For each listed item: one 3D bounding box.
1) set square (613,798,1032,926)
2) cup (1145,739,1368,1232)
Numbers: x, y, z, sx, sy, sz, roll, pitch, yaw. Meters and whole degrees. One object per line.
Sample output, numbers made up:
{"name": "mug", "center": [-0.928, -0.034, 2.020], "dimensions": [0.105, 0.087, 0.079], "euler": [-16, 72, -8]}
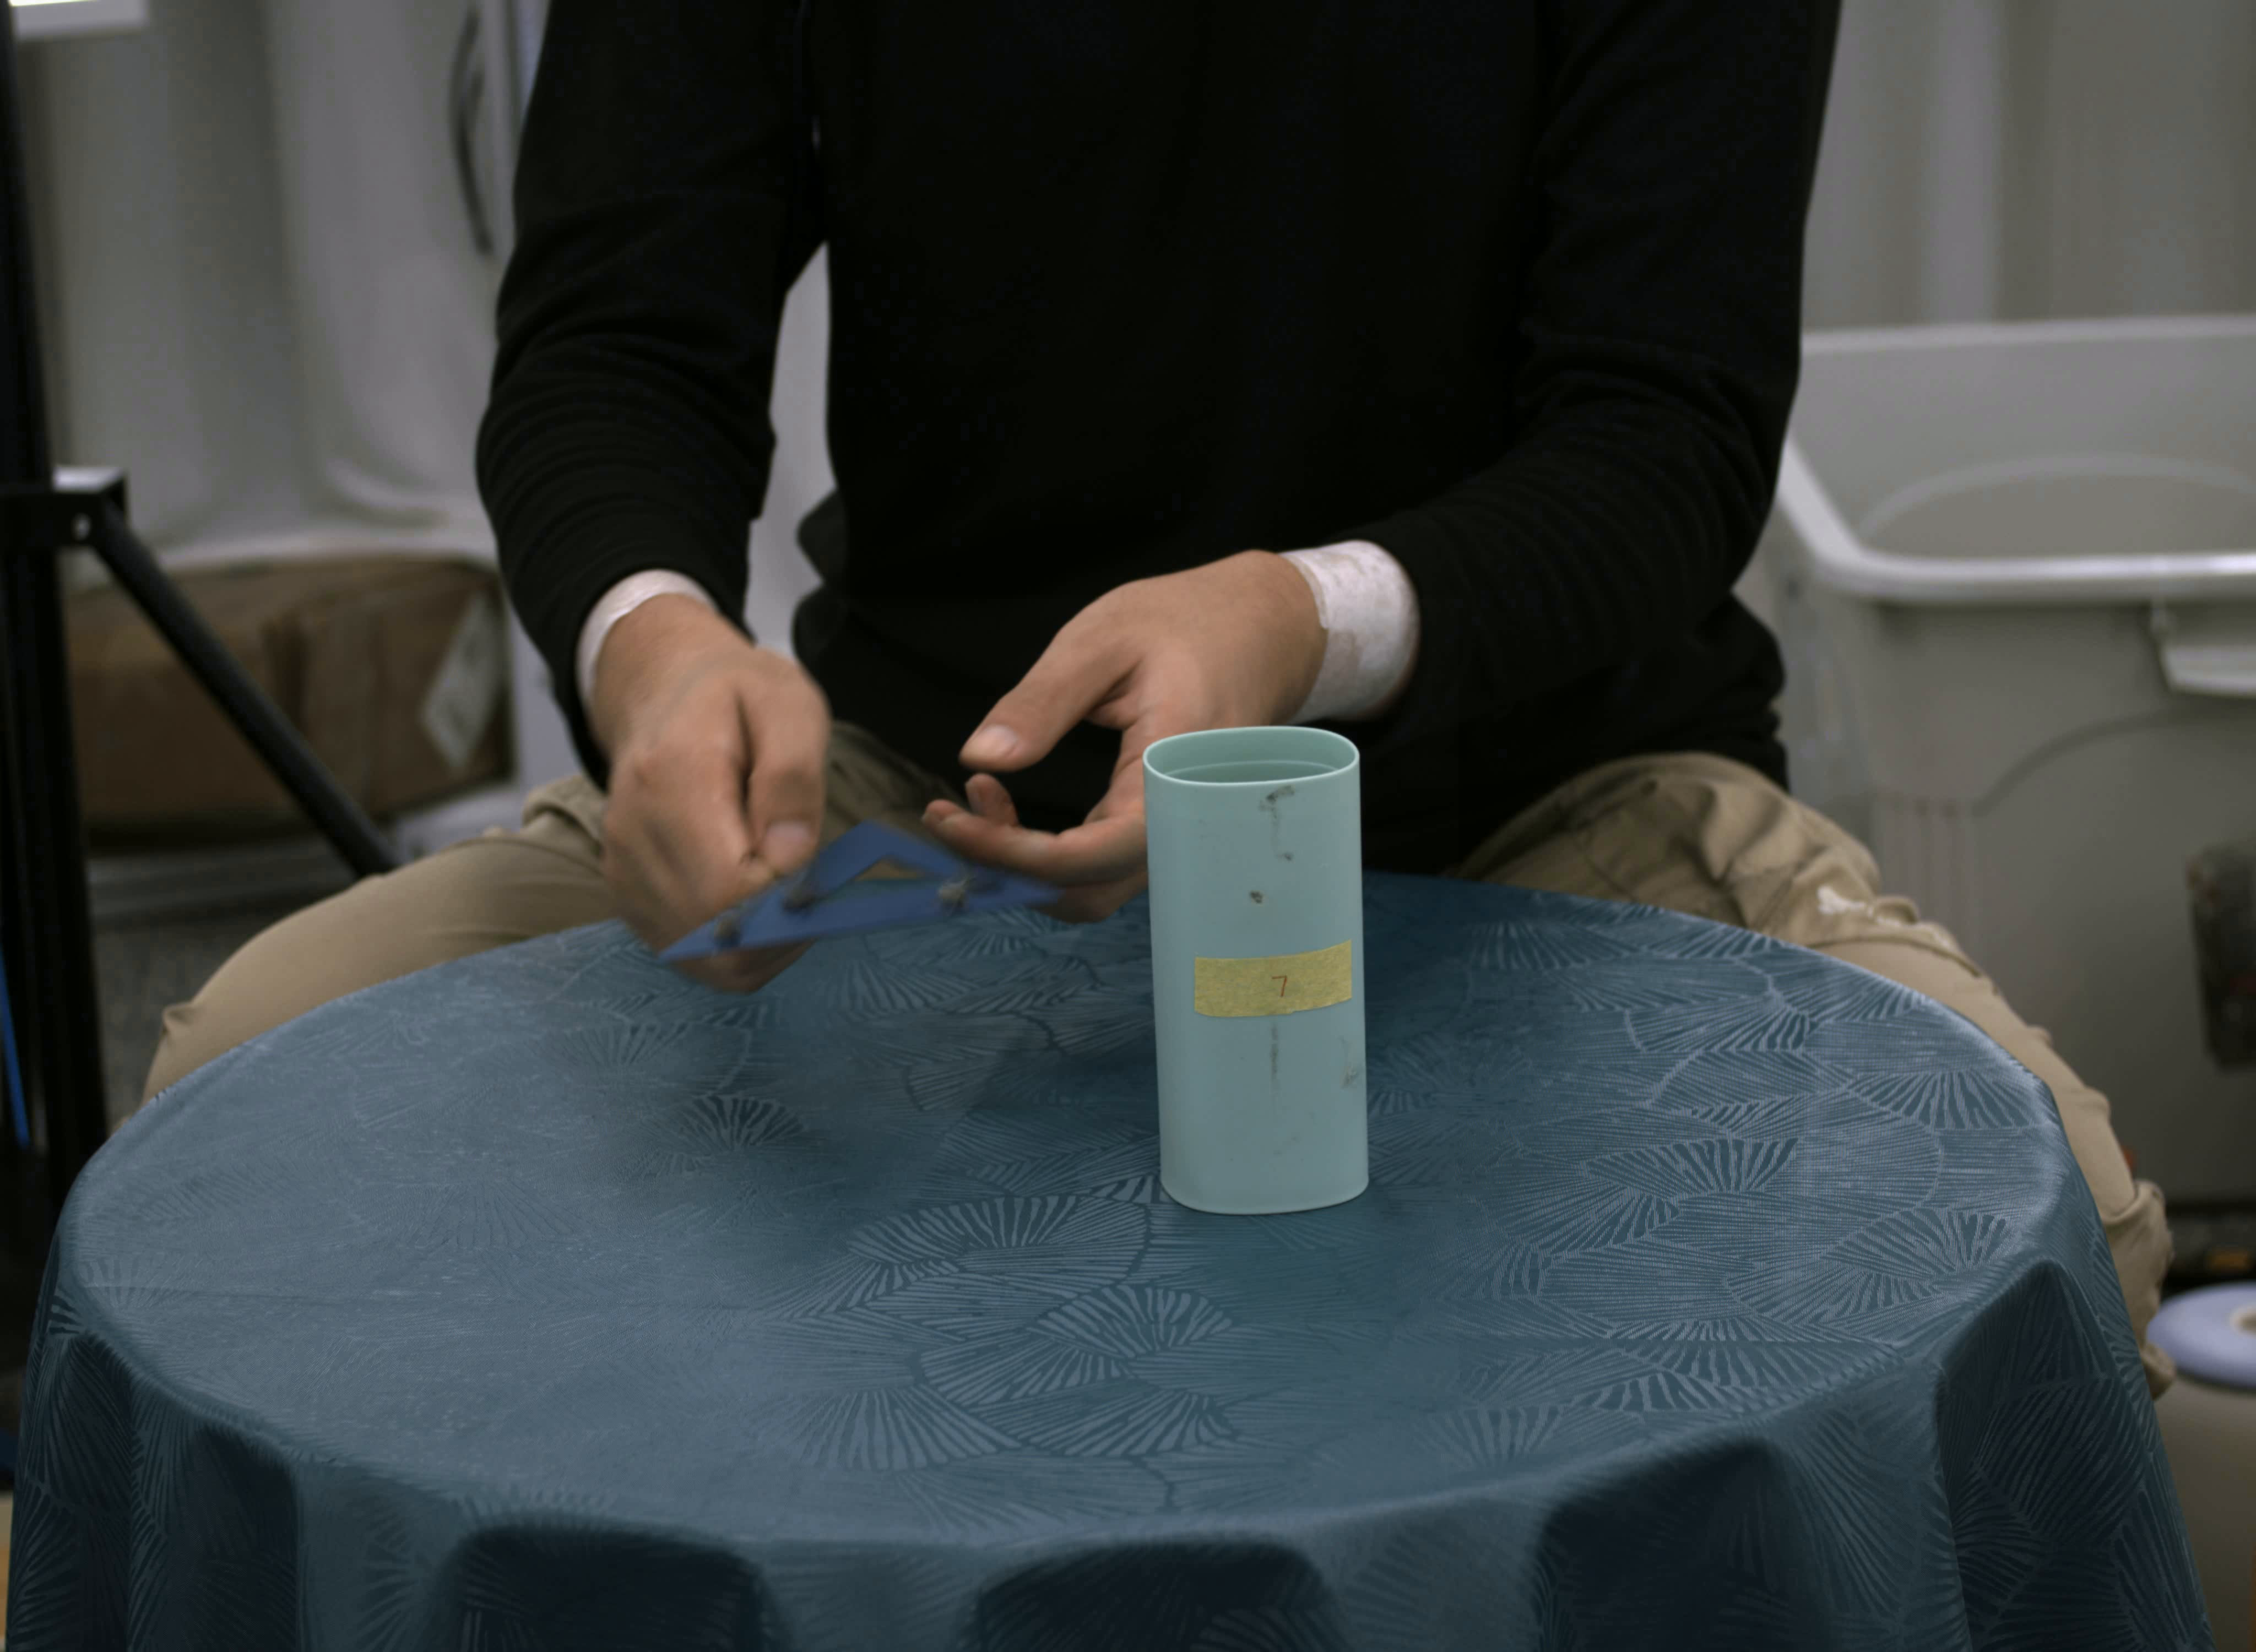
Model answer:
{"name": "set square", "center": [-0.098, 0.008, 1.593], "dimensions": [0.129, 0.006, 0.062], "euler": [-7, 30, -24]}
{"name": "cup", "center": [0.038, 0.045, 1.547], "dimensions": [0.066, 0.132, 0.067], "euler": [-3, 15, -1]}
